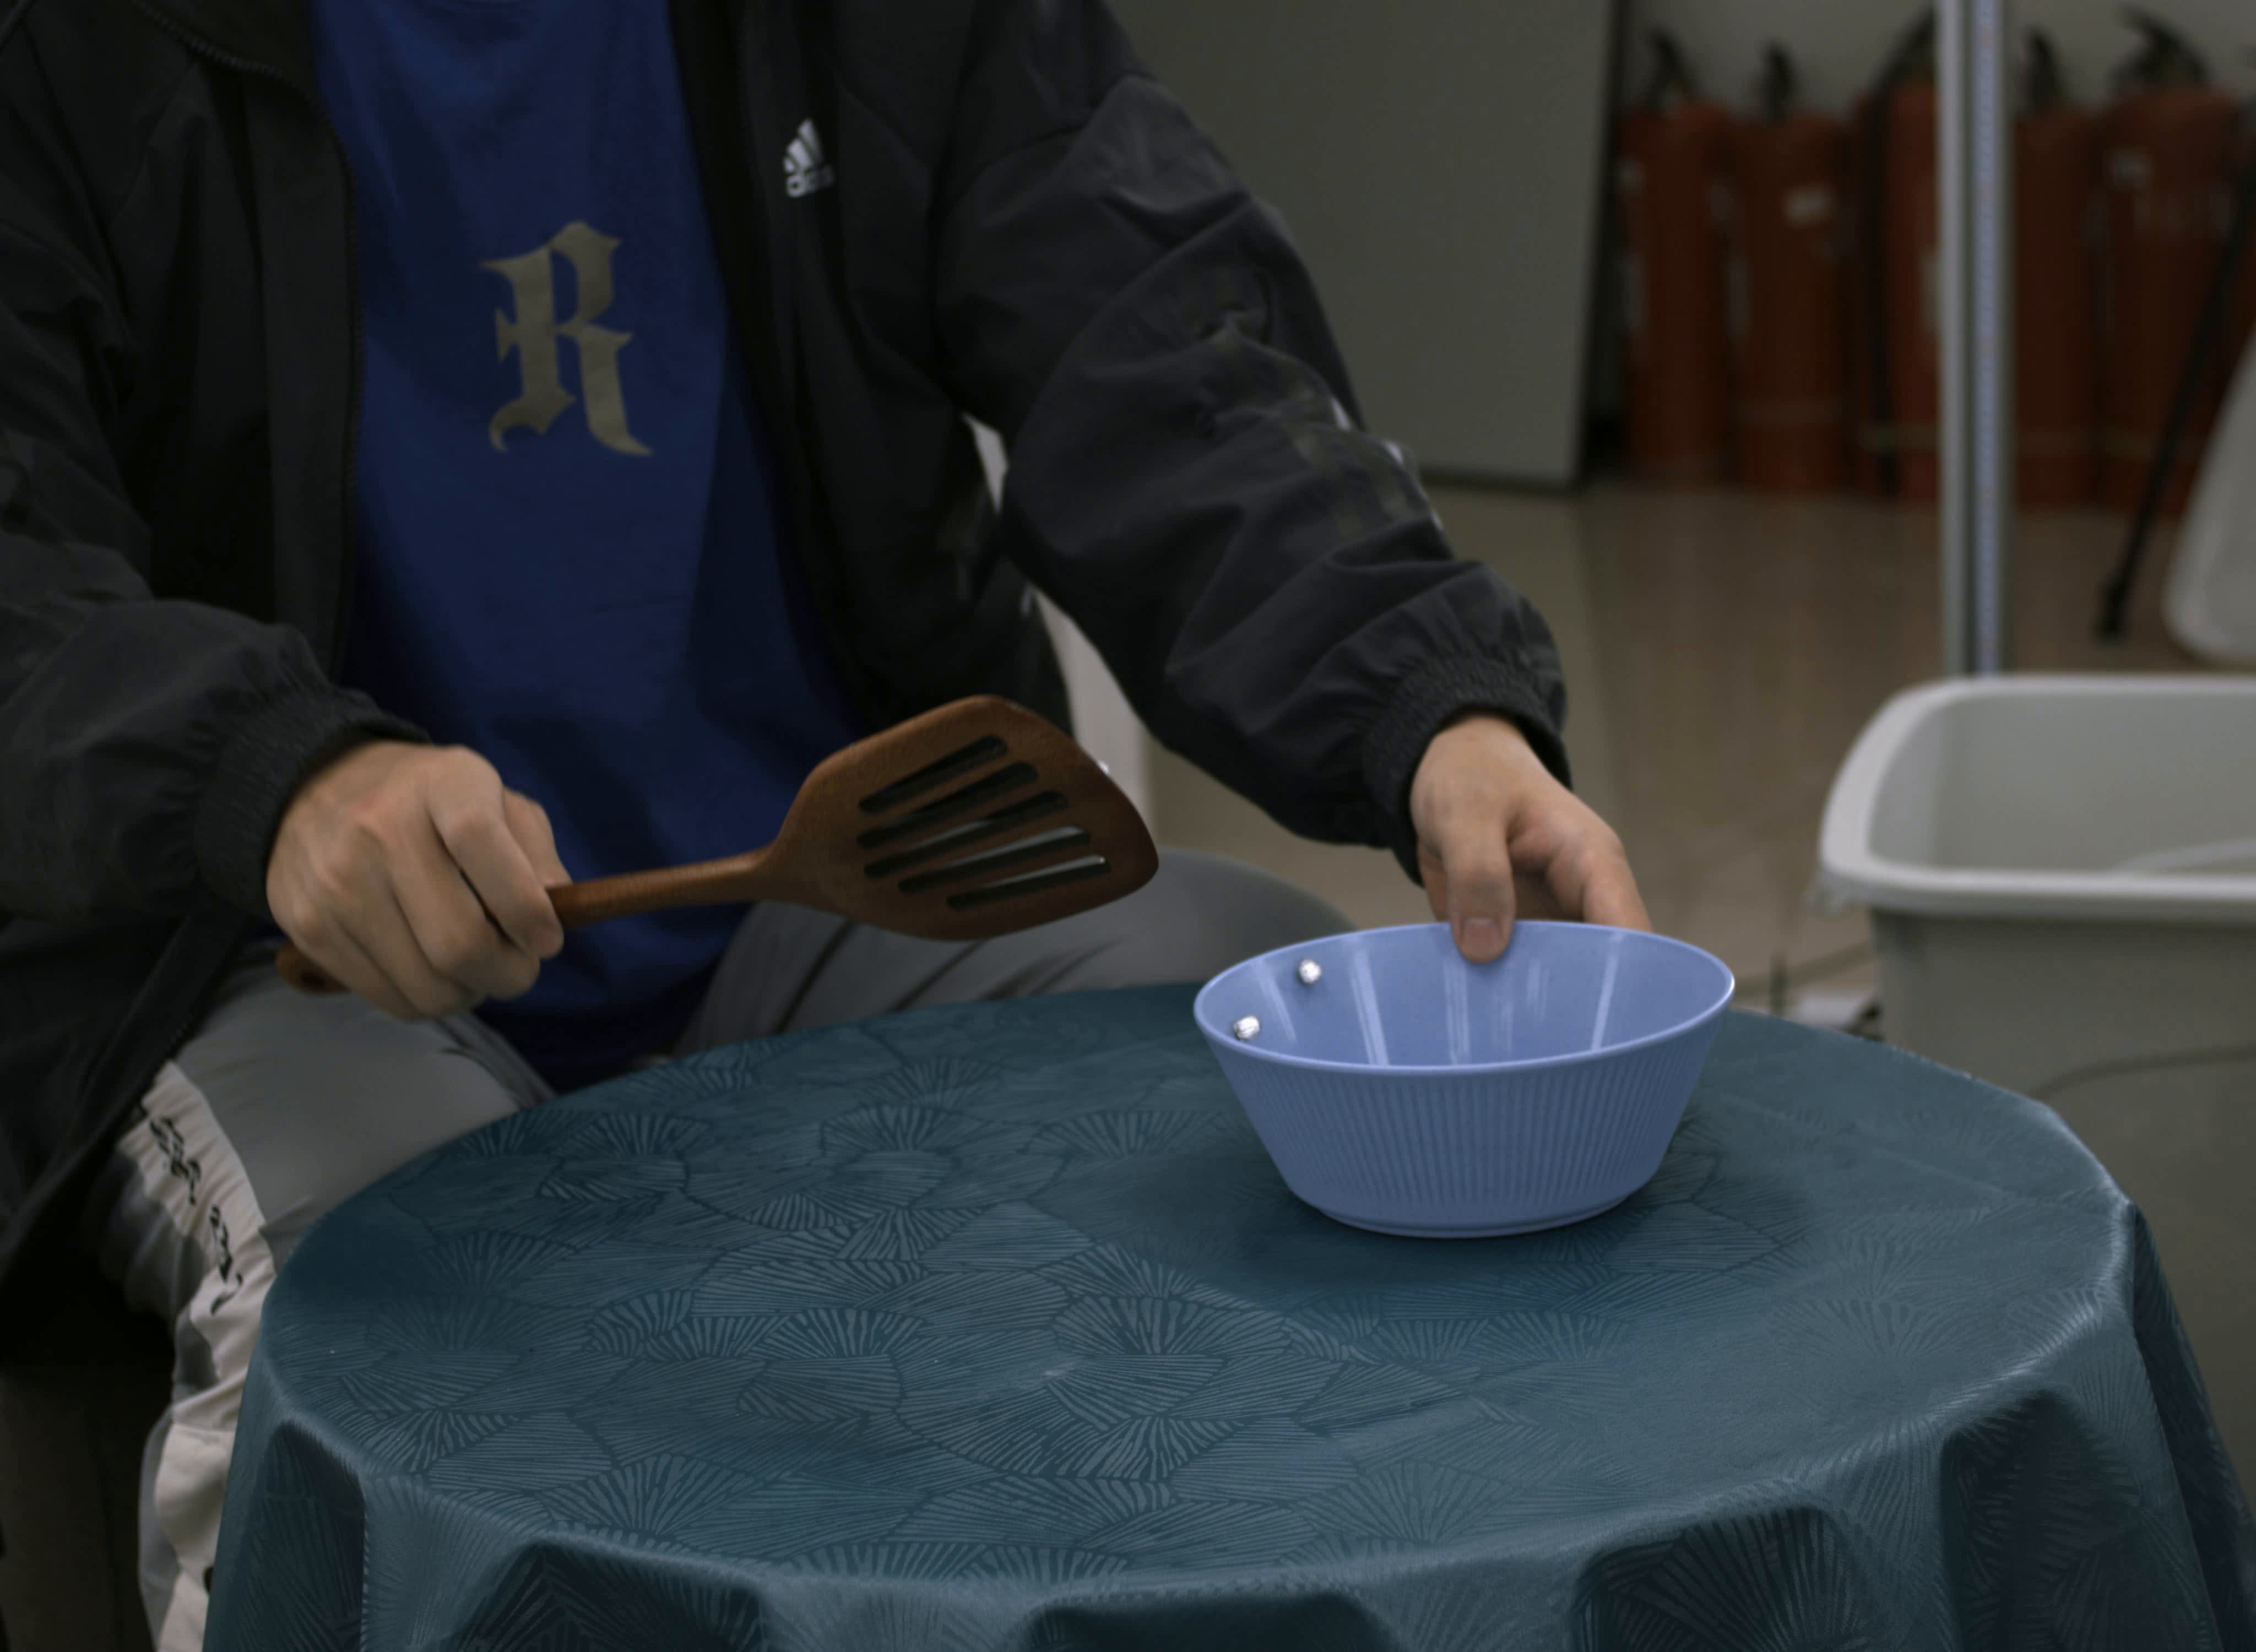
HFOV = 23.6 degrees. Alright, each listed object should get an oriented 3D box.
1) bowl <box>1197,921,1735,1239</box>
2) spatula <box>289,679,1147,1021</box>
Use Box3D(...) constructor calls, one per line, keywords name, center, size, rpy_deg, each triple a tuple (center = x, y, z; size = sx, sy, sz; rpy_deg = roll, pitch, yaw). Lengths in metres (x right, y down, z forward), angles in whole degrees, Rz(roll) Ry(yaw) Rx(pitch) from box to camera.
Box3D(name="bowl", center=(0.111, 0.084, 1.739), size=(0.174, 0.071, 0.176), rpy_deg=(-5, 12, 0))
Box3D(name="spatula", center=(-0.145, 0.023, 1.672), size=(0.390, 0.085, 0.024), rpy_deg=(-15, 37, 46))
